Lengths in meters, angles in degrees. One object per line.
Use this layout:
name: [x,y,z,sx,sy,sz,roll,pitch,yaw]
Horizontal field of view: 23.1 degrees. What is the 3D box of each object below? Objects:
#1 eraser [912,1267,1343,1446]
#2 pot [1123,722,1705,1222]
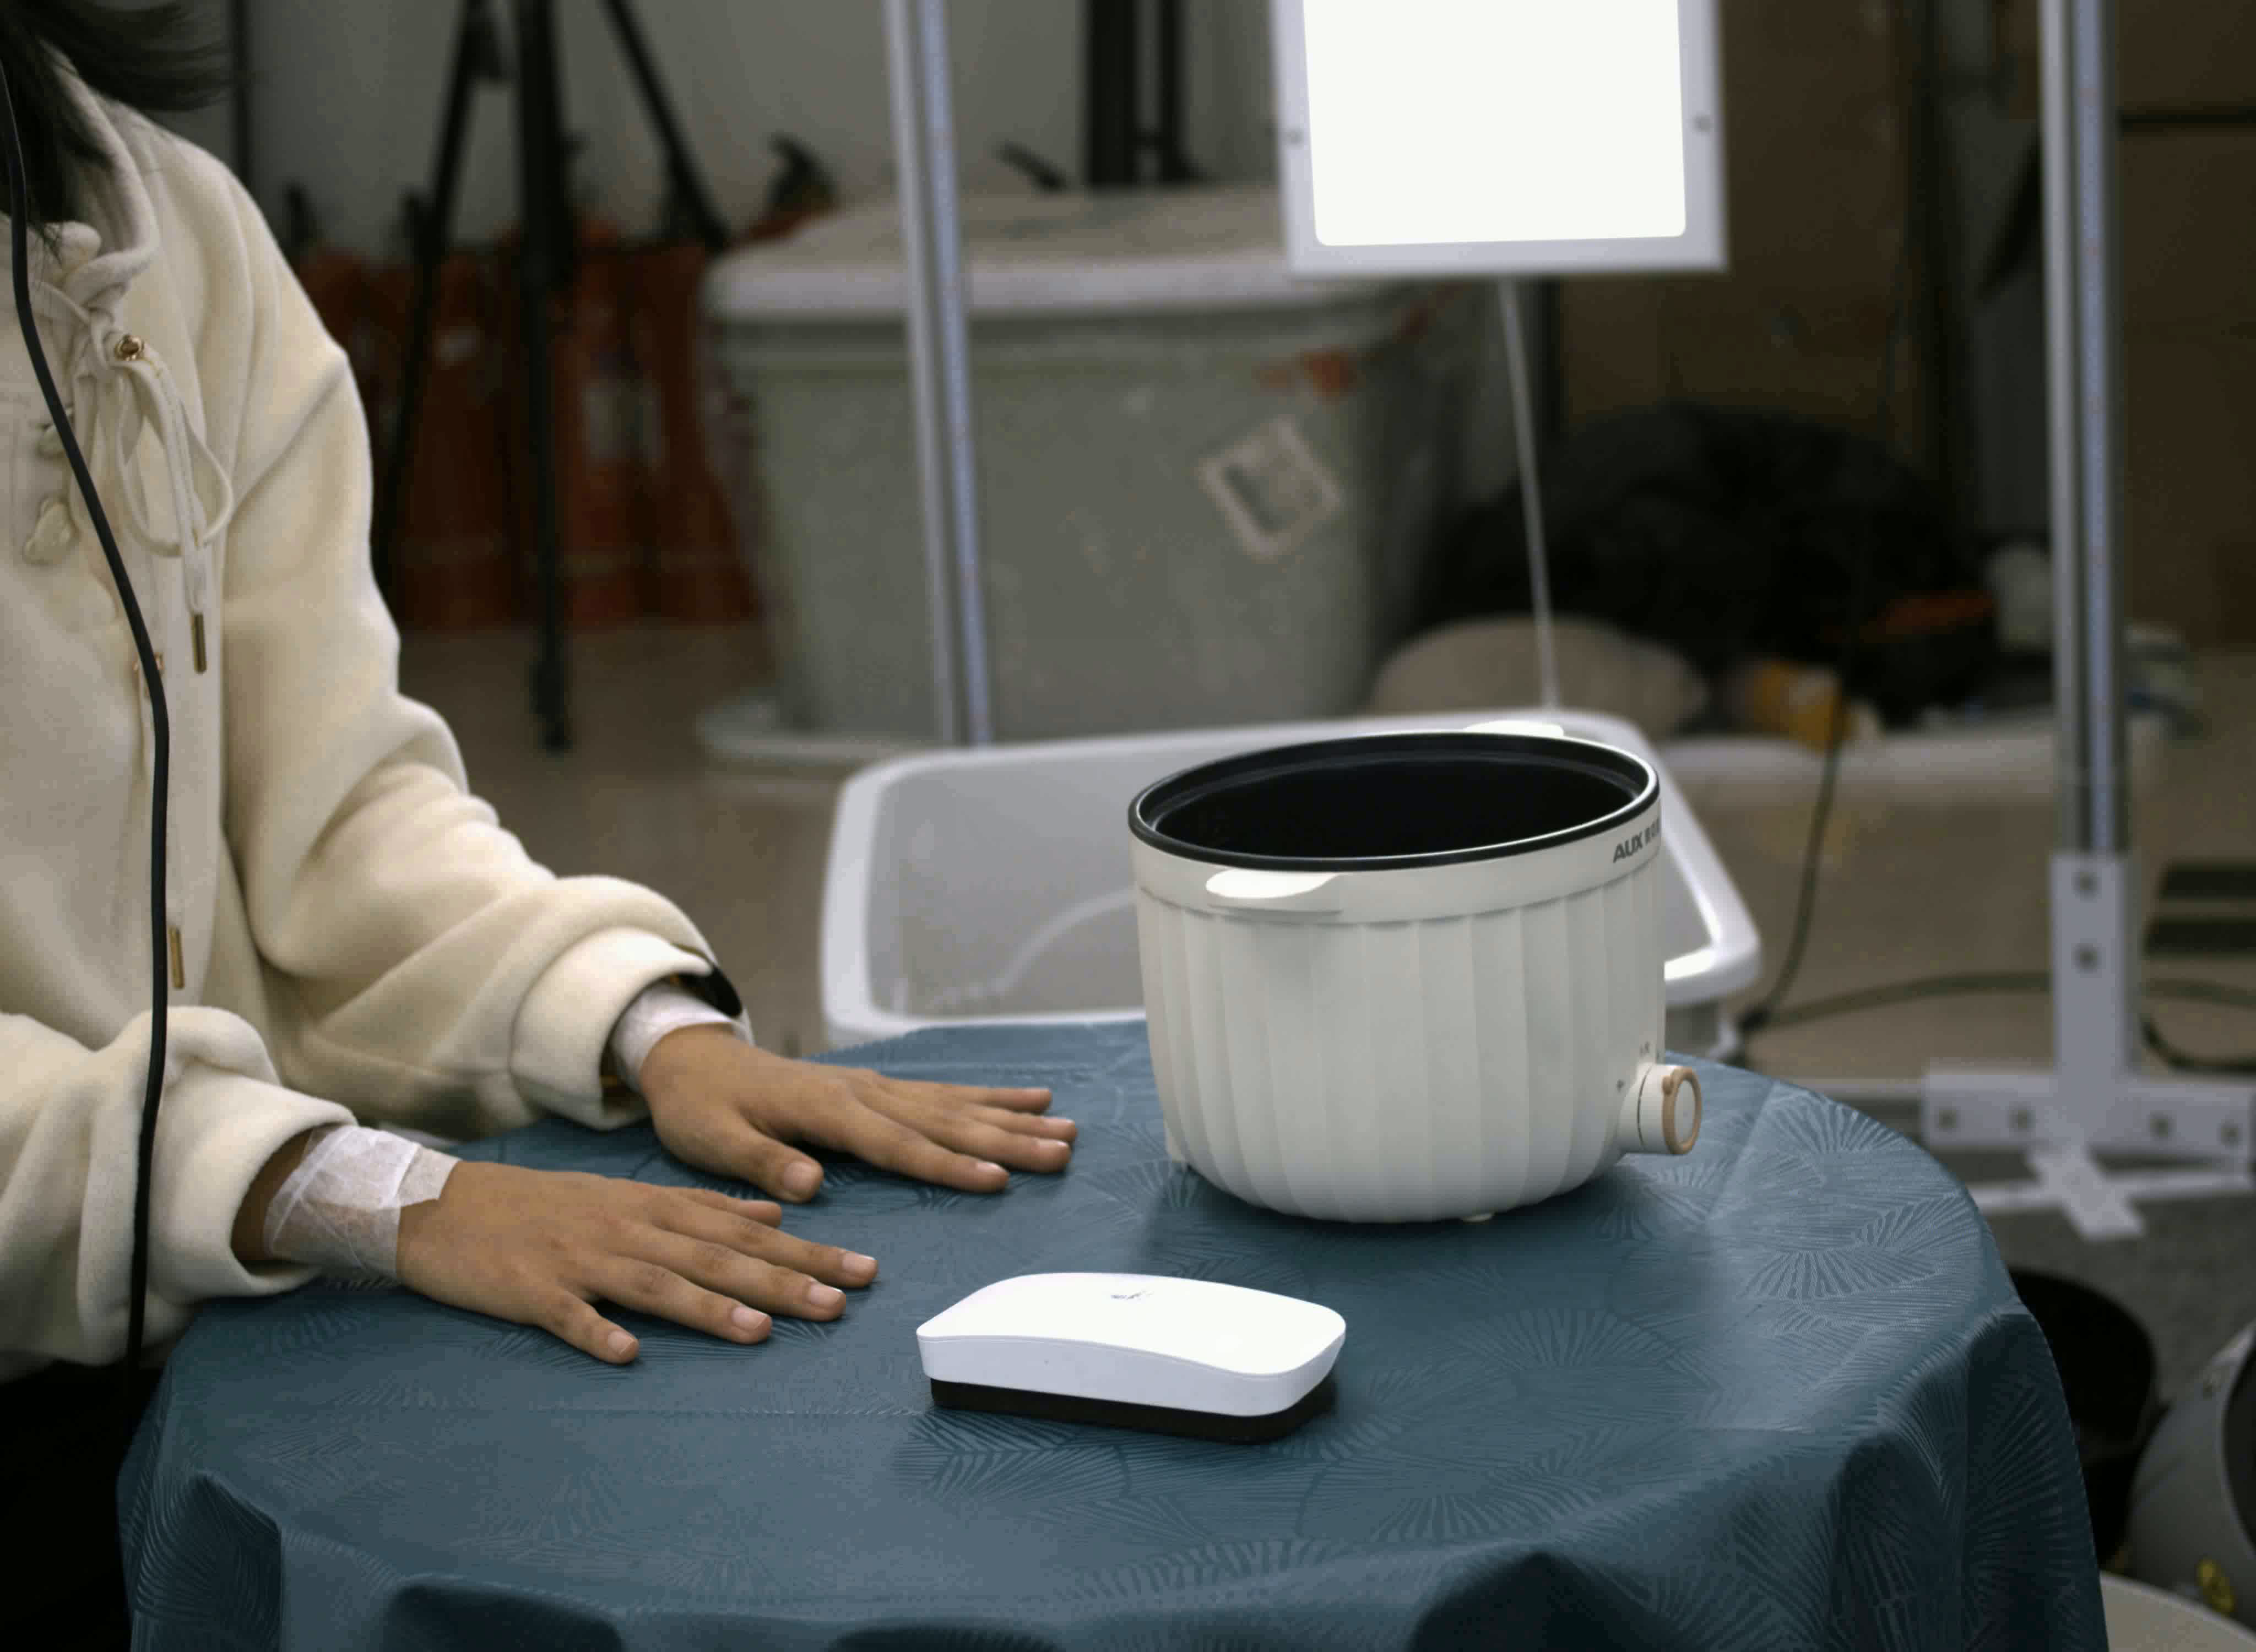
eraser: [0.001,0.162,1.691,0.134,0.034,0.062,4,13,31]
pot: [0.100,0.052,1.871,0.194,0.143,0.235,-1,15,28]
